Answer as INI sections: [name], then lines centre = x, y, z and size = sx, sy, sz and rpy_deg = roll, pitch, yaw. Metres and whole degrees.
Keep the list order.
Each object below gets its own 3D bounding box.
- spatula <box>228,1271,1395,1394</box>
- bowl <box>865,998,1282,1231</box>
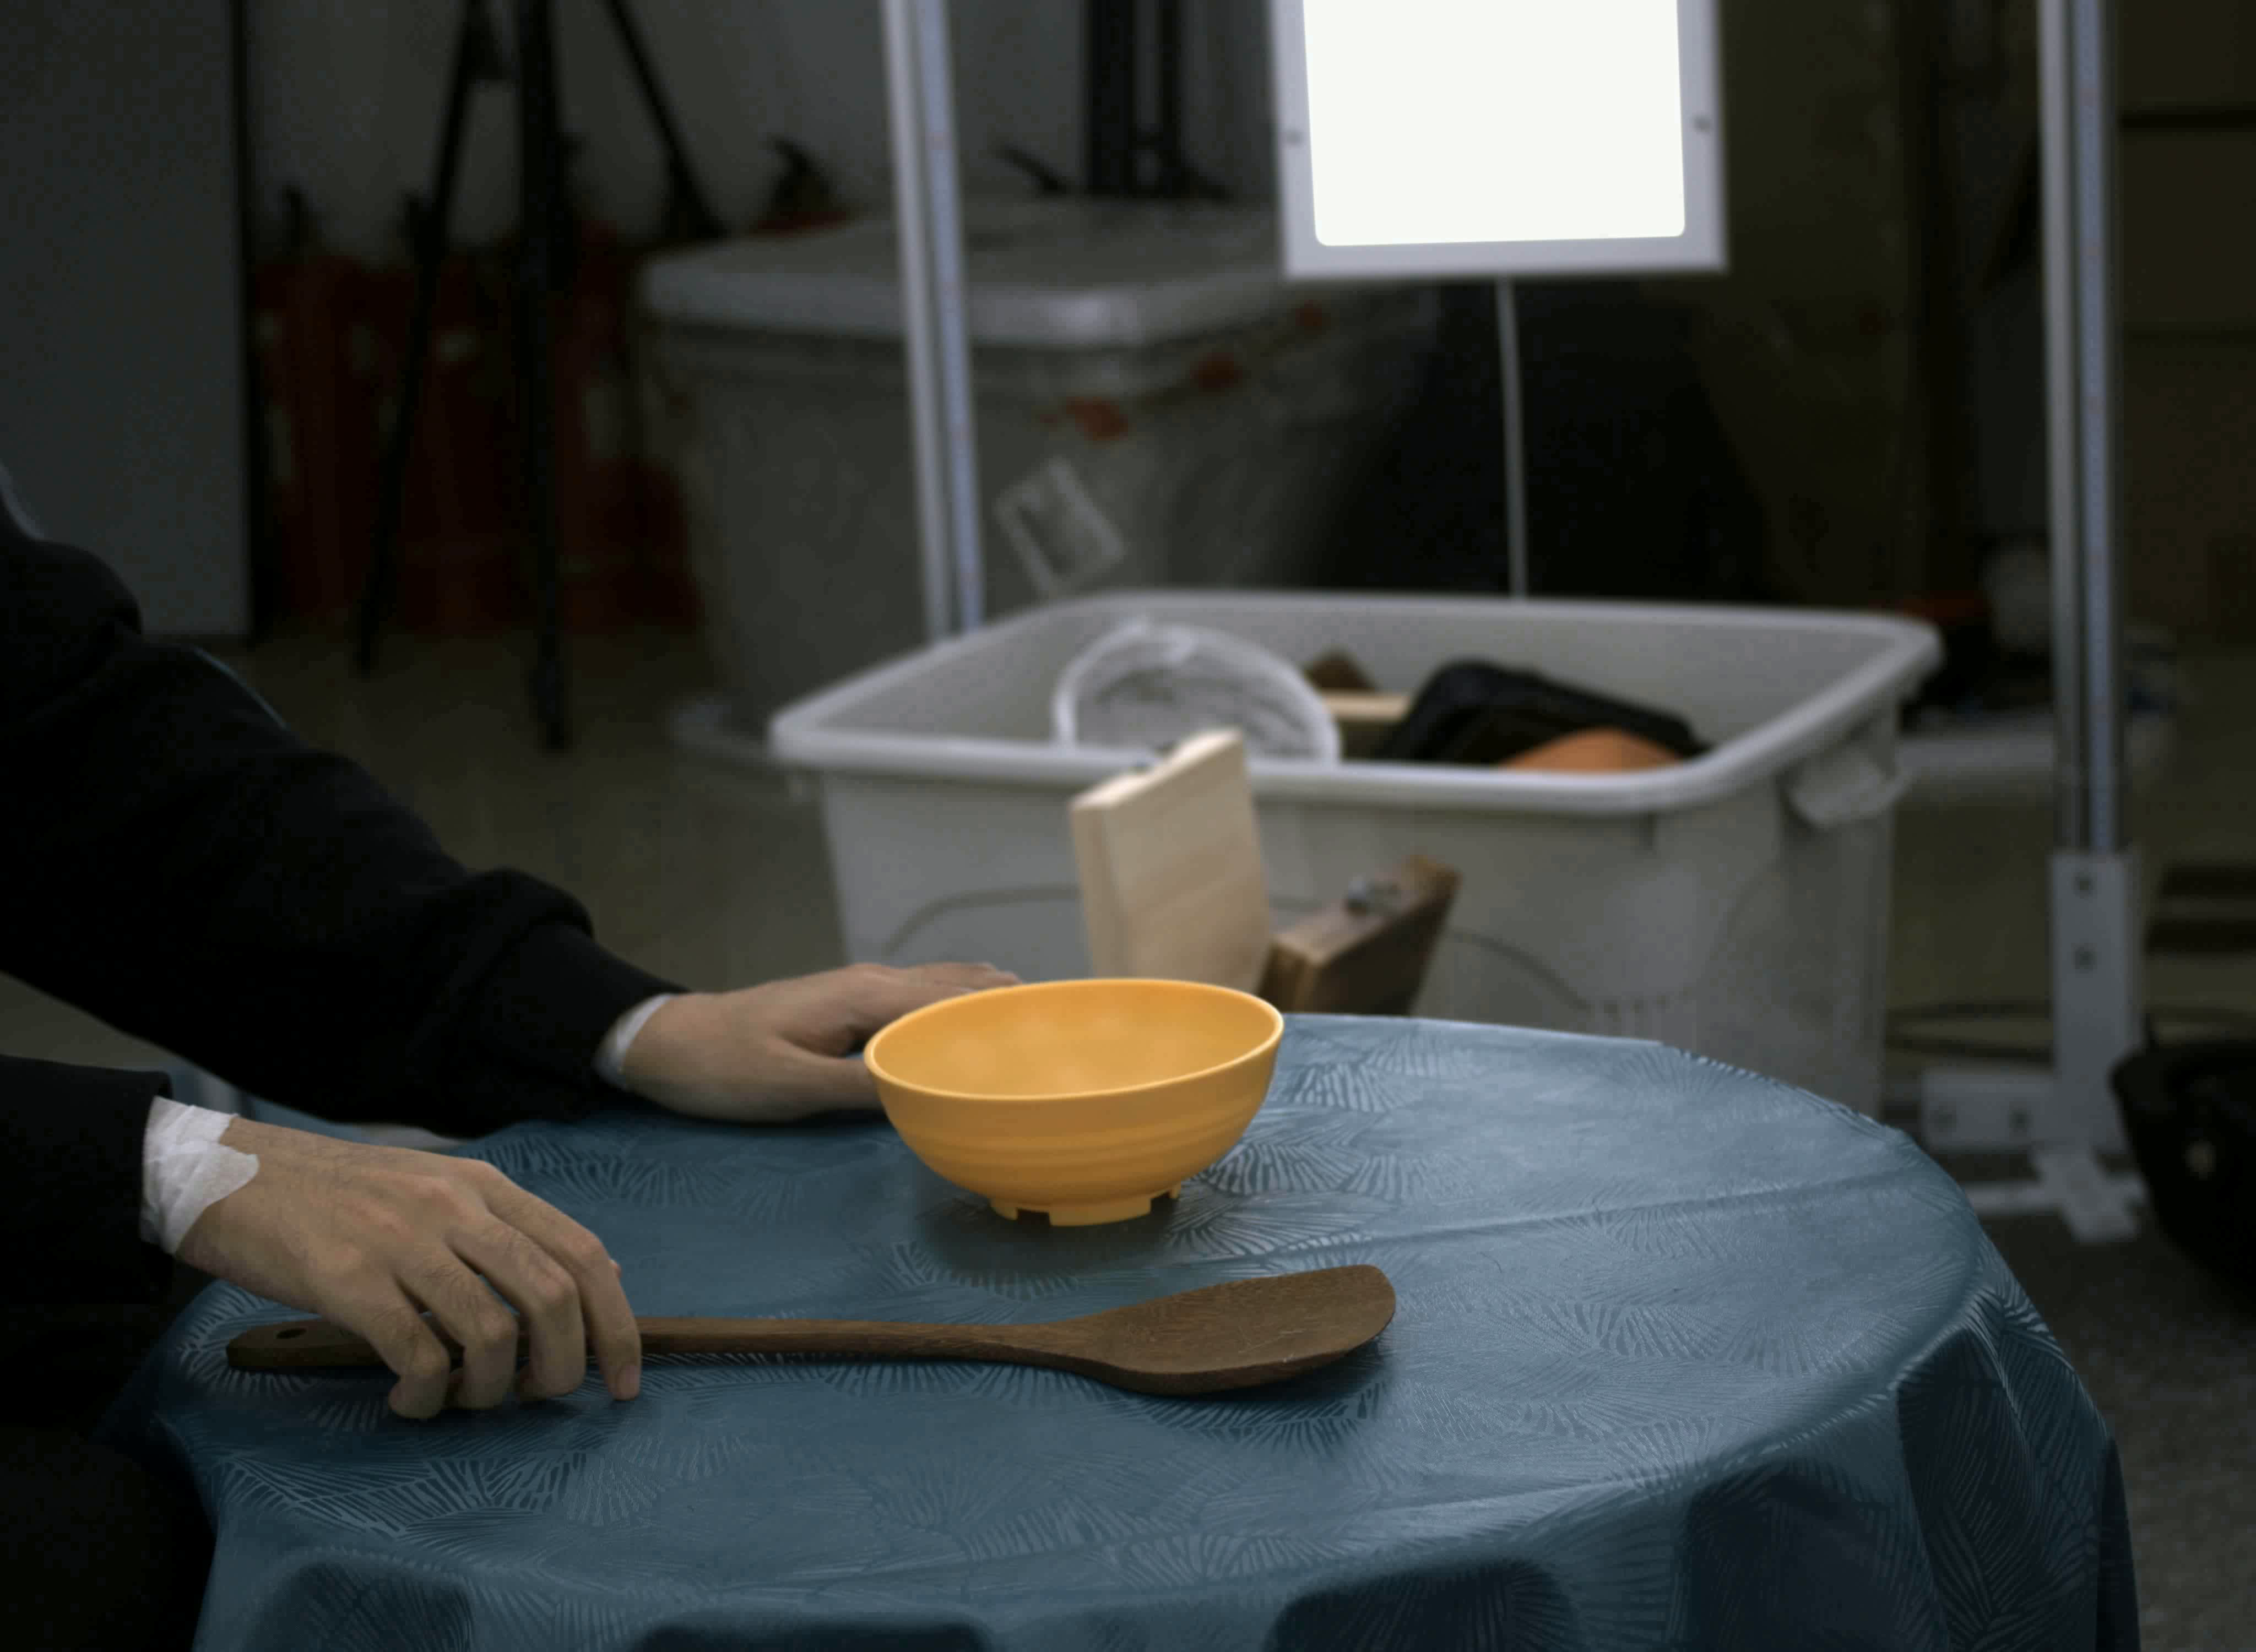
[spatula]
centre = -0.105, 0.163, 1.758
size = 0.389, 0.016, 0.095
rpy_deg = -2, 14, 14
[bowl]
centre = -0.017, 0.102, 1.889
size = 0.145, 0.060, 0.145
rpy_deg = -5, 11, 0
